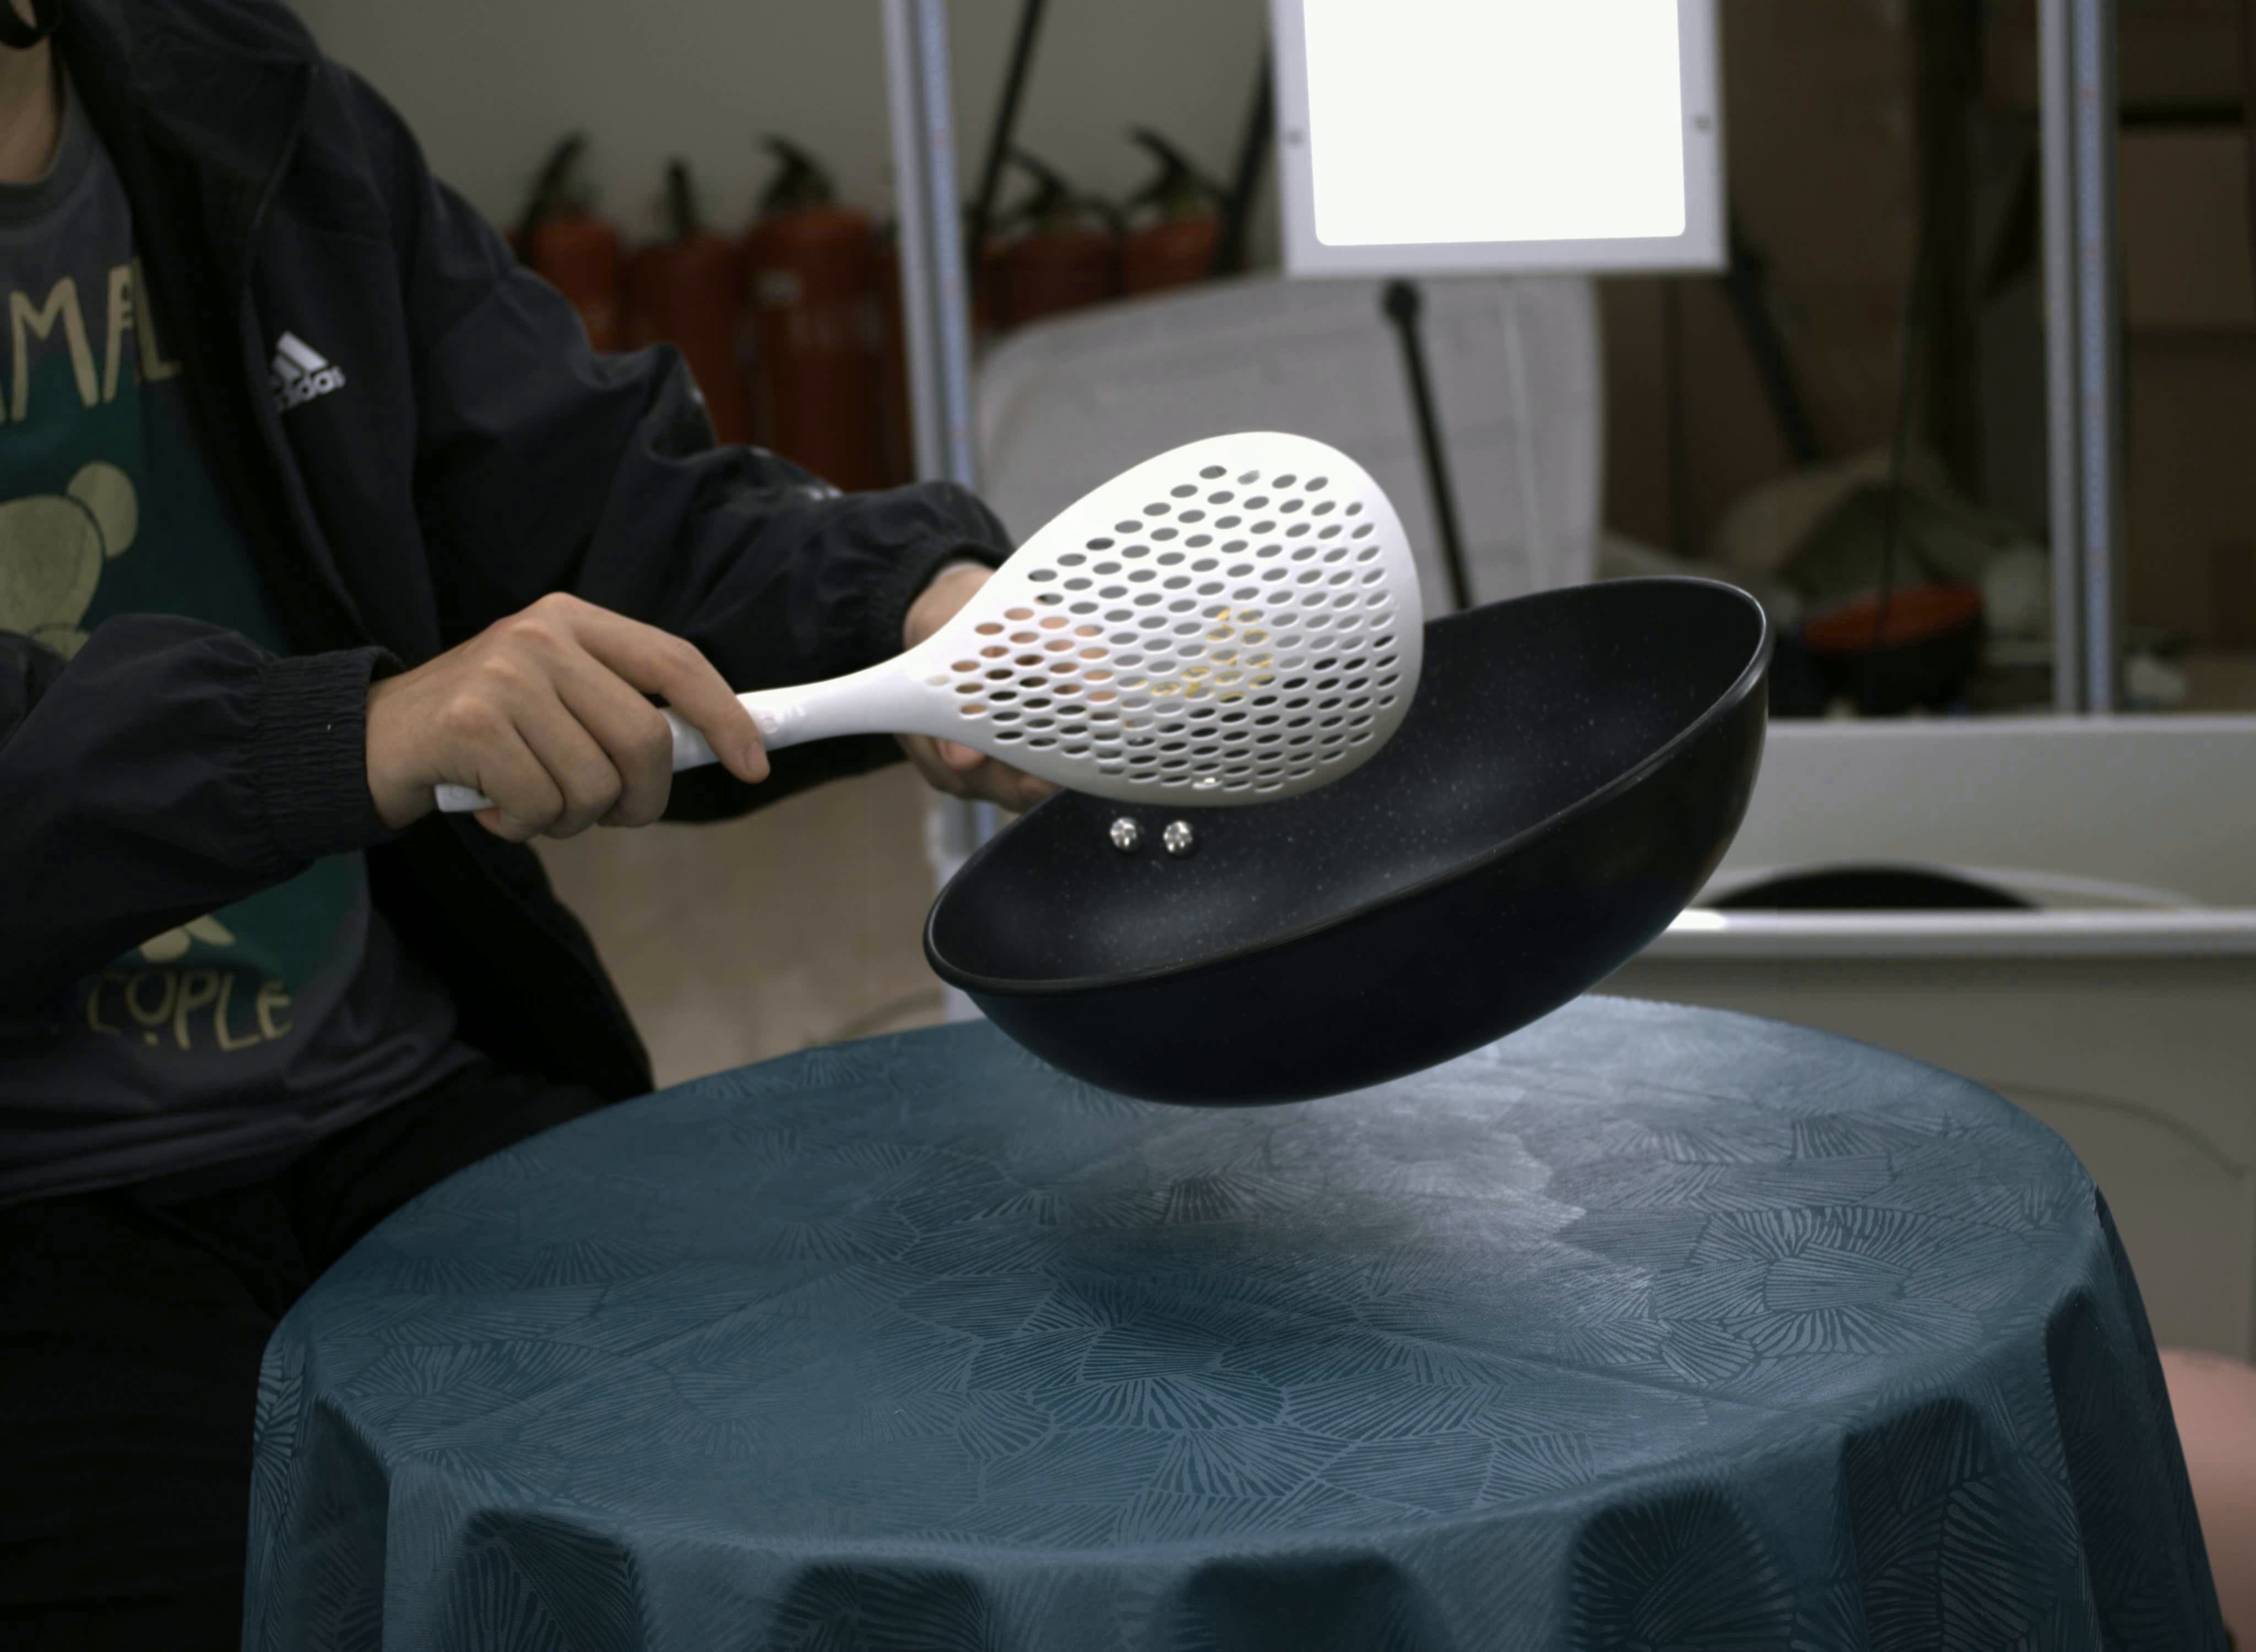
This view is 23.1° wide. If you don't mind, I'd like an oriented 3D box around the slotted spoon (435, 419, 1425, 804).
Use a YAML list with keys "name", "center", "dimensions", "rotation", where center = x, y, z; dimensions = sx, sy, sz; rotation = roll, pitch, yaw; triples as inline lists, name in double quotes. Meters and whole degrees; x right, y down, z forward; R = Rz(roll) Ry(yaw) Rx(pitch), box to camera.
- name: "slotted spoon"
  center: [-0.065, -0.047, 1.894]
  dimensions: [0.347, 0.137, 0.050]
  rotation: [-11, 20, 1]

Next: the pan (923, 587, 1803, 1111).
- name: "pan"
  center: [0.049, 0.004, 1.935]
  dimensions: [0.304, 0.111, 0.486]
  rotation: [-28, 16, -24]
